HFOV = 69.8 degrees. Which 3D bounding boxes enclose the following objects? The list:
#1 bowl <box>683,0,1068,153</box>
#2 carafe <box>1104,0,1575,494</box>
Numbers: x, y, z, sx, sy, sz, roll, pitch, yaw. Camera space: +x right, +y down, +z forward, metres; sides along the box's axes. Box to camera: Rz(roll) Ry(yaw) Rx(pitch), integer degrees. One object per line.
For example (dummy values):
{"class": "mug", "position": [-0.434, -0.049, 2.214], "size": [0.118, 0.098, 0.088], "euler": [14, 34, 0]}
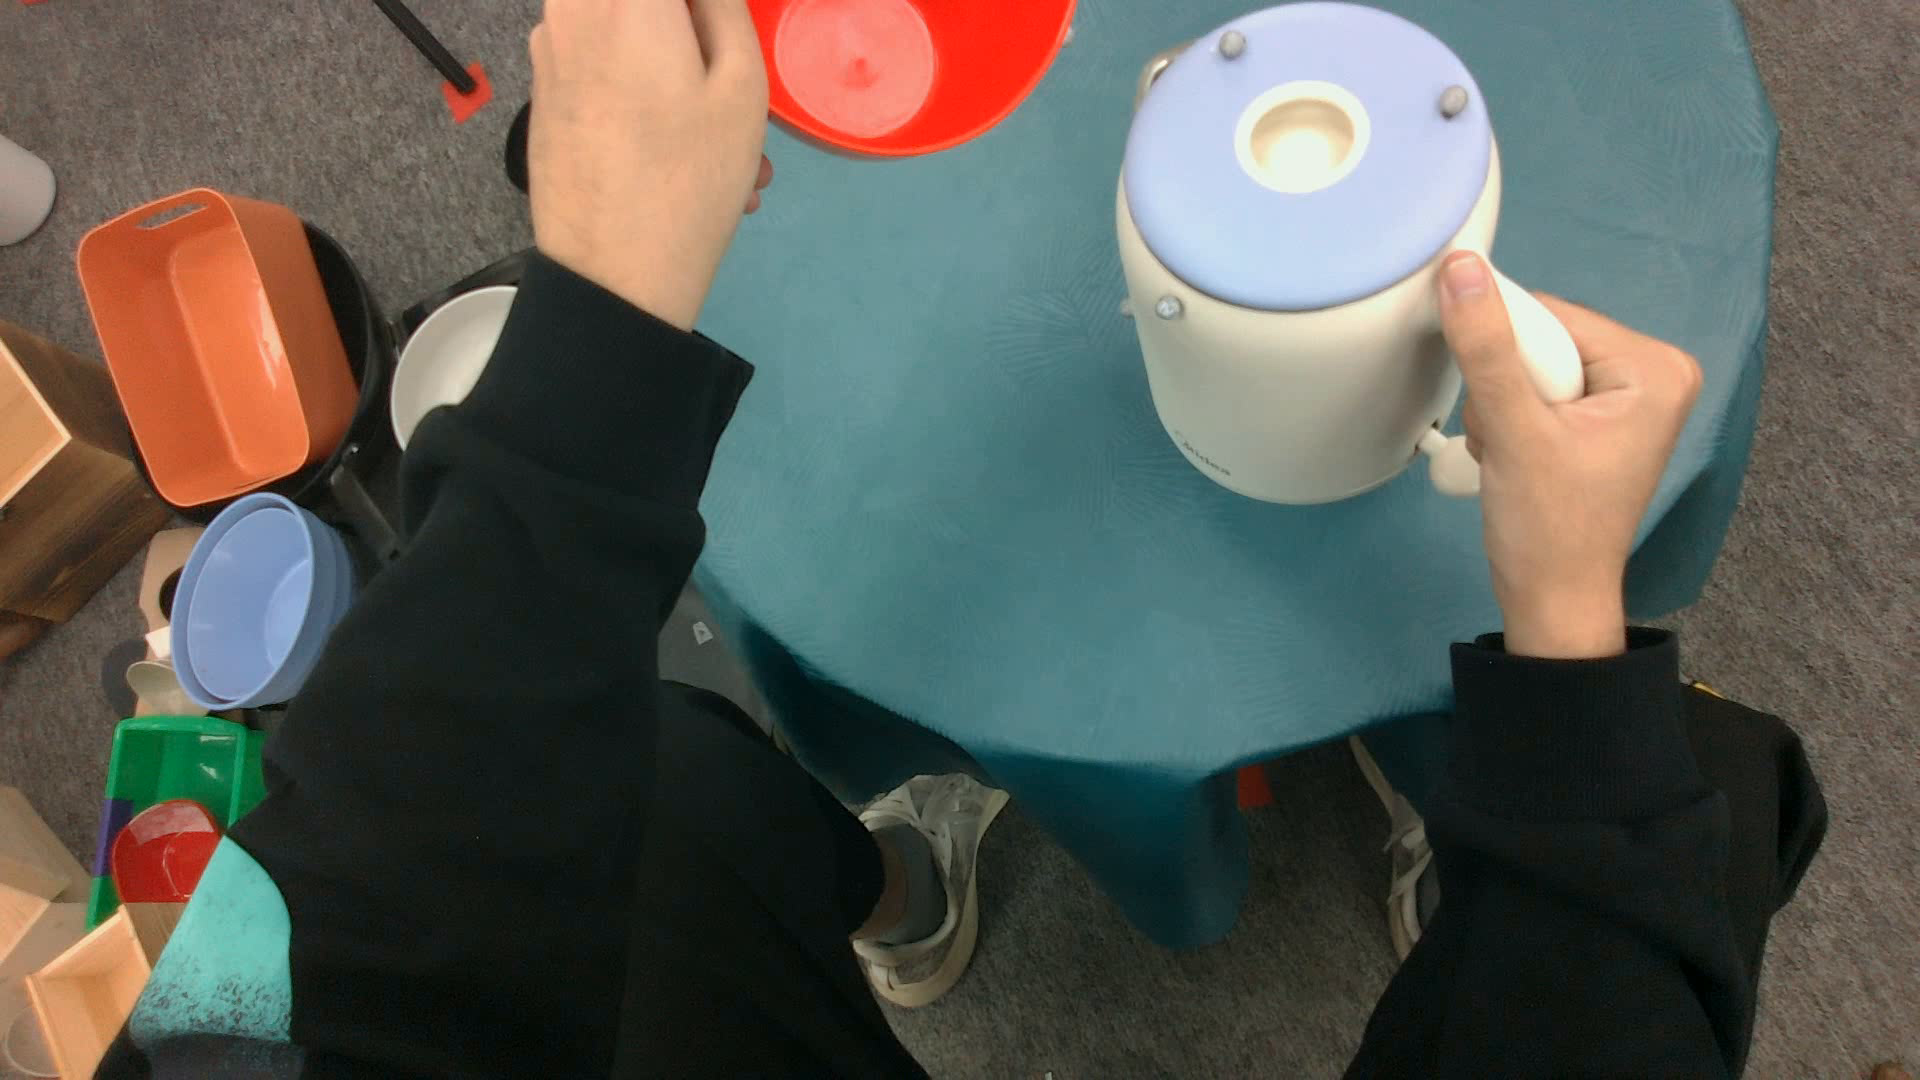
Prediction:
{"class": "bowl", "position": [-0.038, -0.208, 0.502], "size": [0.148, 0.104, 0.148], "euler": [1, 86, -14]}
{"class": "carafe", "position": [0.145, -0.092, 0.529], "size": [0.191, 0.182, 0.132], "euler": [38, 82, 20]}
